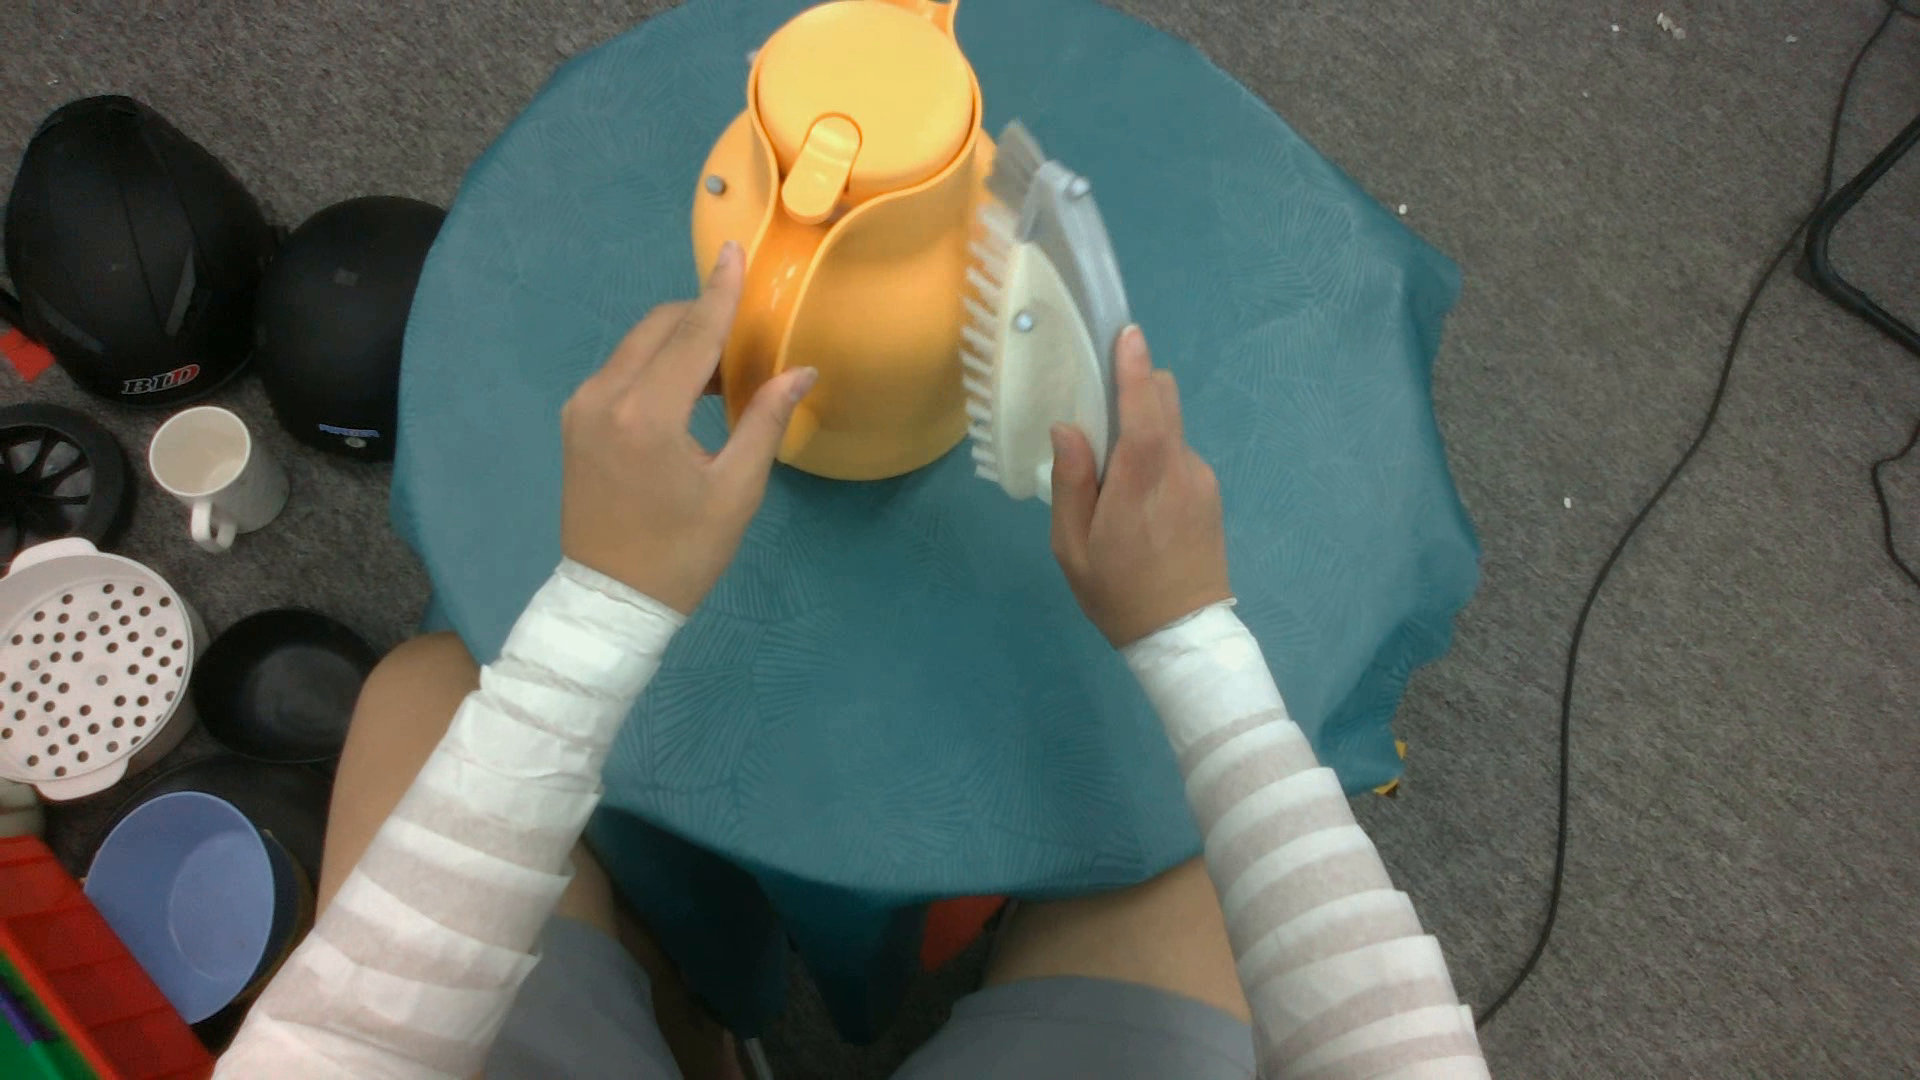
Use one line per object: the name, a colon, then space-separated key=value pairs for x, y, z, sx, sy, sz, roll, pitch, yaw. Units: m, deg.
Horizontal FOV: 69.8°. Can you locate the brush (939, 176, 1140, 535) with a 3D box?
brush: x=0.038 y=-0.076 z=0.627 sx=0.062 sy=0.175 sz=0.094 roll=-35 pitch=45 yaw=-28

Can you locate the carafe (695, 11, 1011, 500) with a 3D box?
carafe: x=-0.061 y=-0.119 z=0.690 sx=0.163 sy=0.259 sz=0.203 roll=24 pitch=67 yaw=6
